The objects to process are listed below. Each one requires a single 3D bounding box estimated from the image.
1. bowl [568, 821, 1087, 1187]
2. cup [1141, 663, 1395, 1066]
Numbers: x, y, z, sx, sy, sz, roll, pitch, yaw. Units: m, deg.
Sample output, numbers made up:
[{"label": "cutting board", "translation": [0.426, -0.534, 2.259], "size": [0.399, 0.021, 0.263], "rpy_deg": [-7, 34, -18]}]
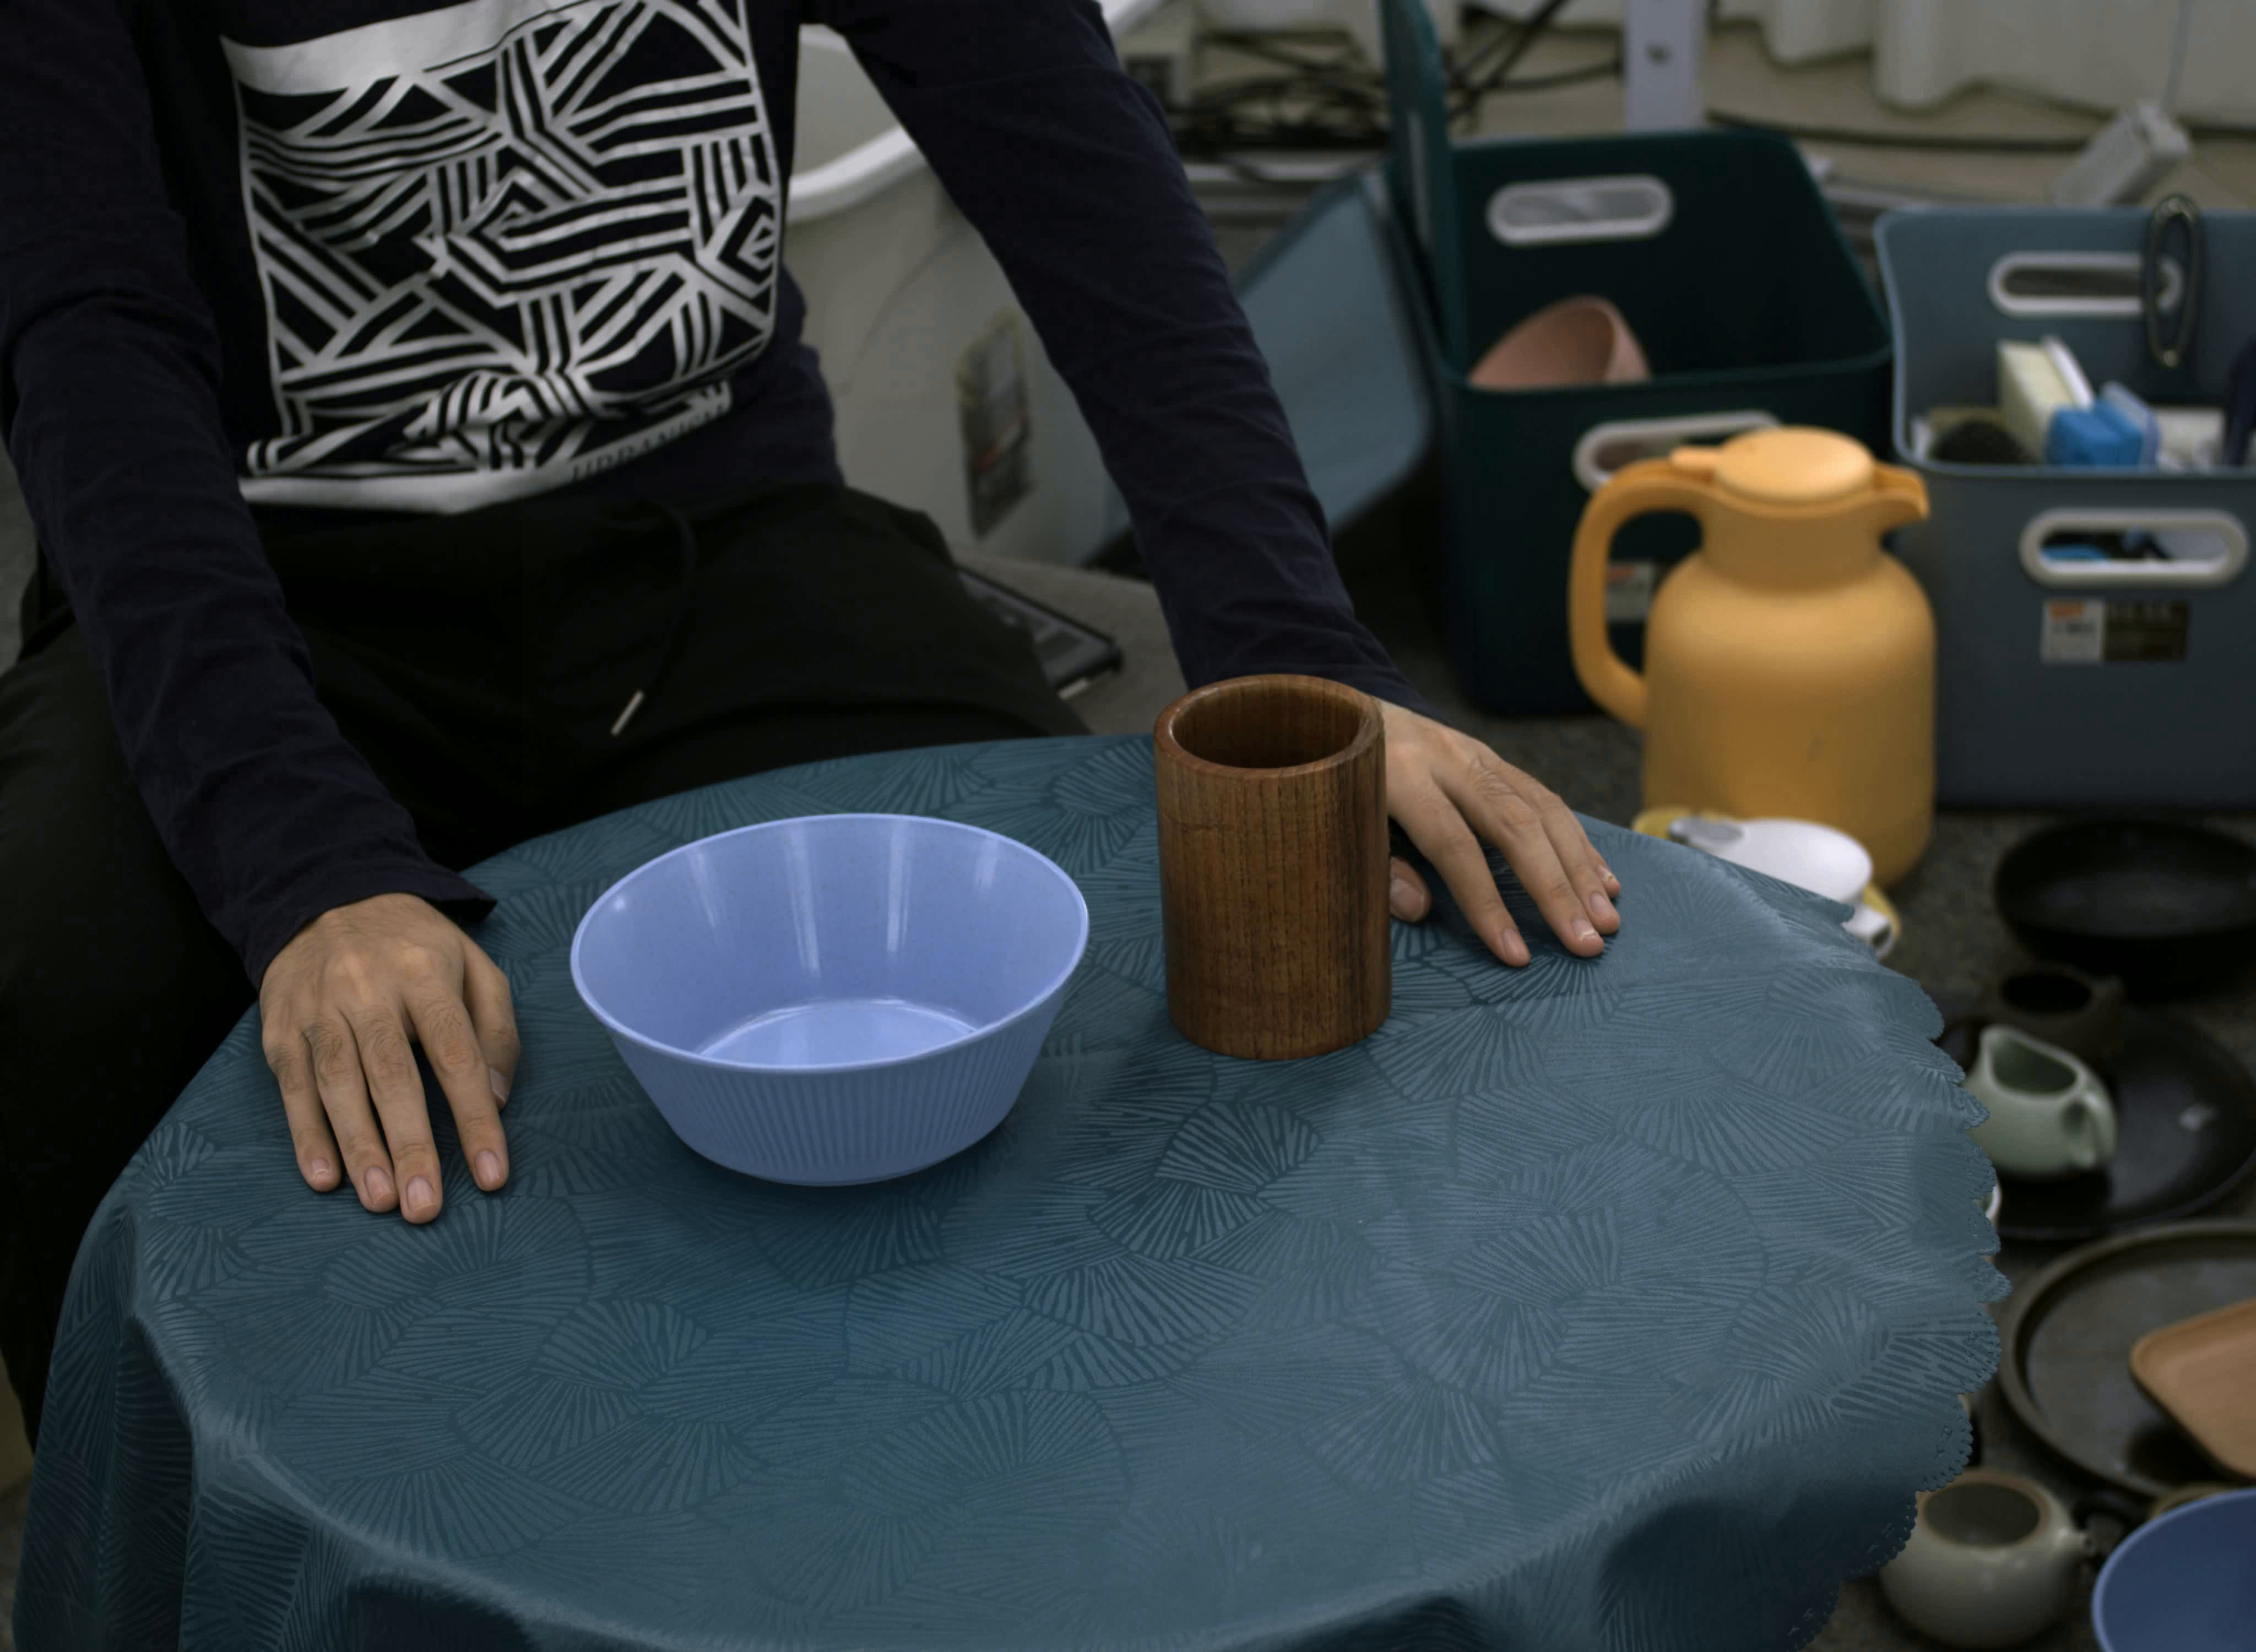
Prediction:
[{"label": "bowl", "translation": [-0.100, 0.066, 1.902], "size": [0.175, 0.069, 0.178], "rpy_deg": [-2, 26, 1]}, {"label": "cup", "translation": [0.050, 0.013, 1.940], "size": [0.087, 0.117, 0.089], "rpy_deg": [-2, 24, 2]}]
